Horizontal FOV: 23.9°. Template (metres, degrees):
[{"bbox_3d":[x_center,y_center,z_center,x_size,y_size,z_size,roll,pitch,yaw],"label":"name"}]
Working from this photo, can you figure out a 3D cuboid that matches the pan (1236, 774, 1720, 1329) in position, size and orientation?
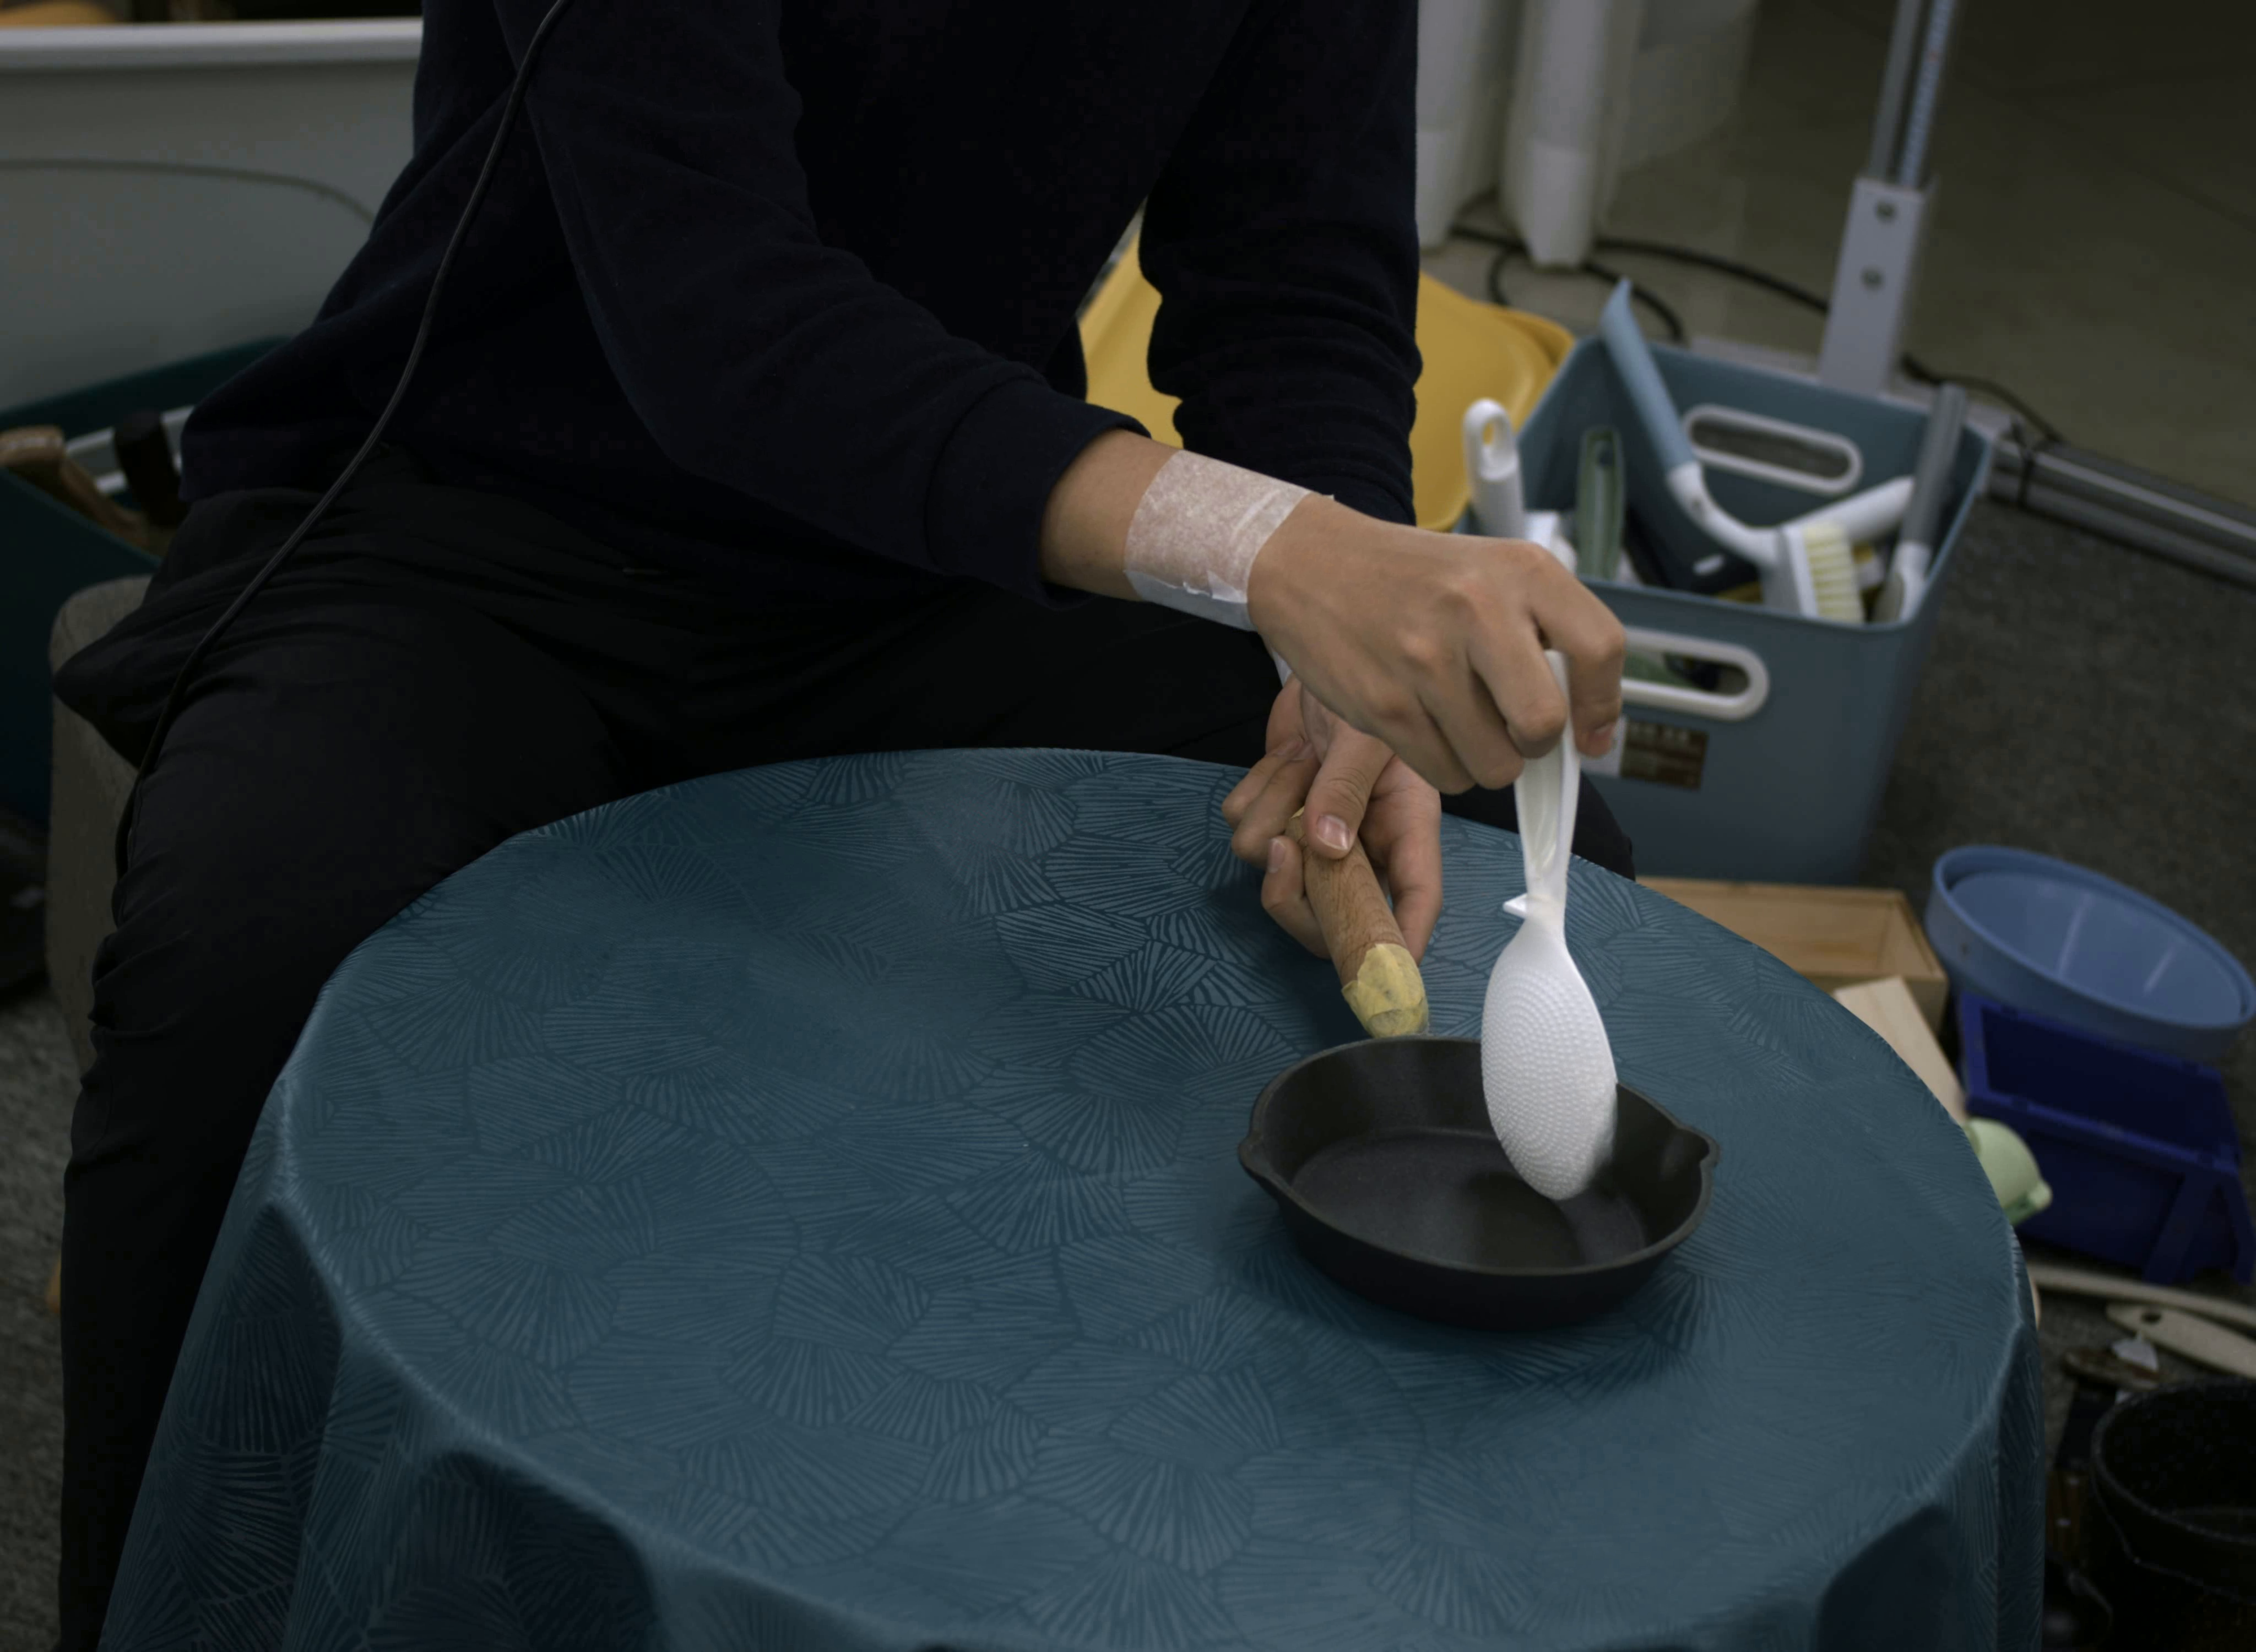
[{"bbox_3d":[0.101,0.076,1.863,0.168,0.049,0.327,0,29,-12],"label":"pan"}]

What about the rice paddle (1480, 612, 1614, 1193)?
[{"bbox_3d":[0.139,0.029,1.787,0.029,0.204,0.069,-17,26,-33],"label":"rice paddle"}]
